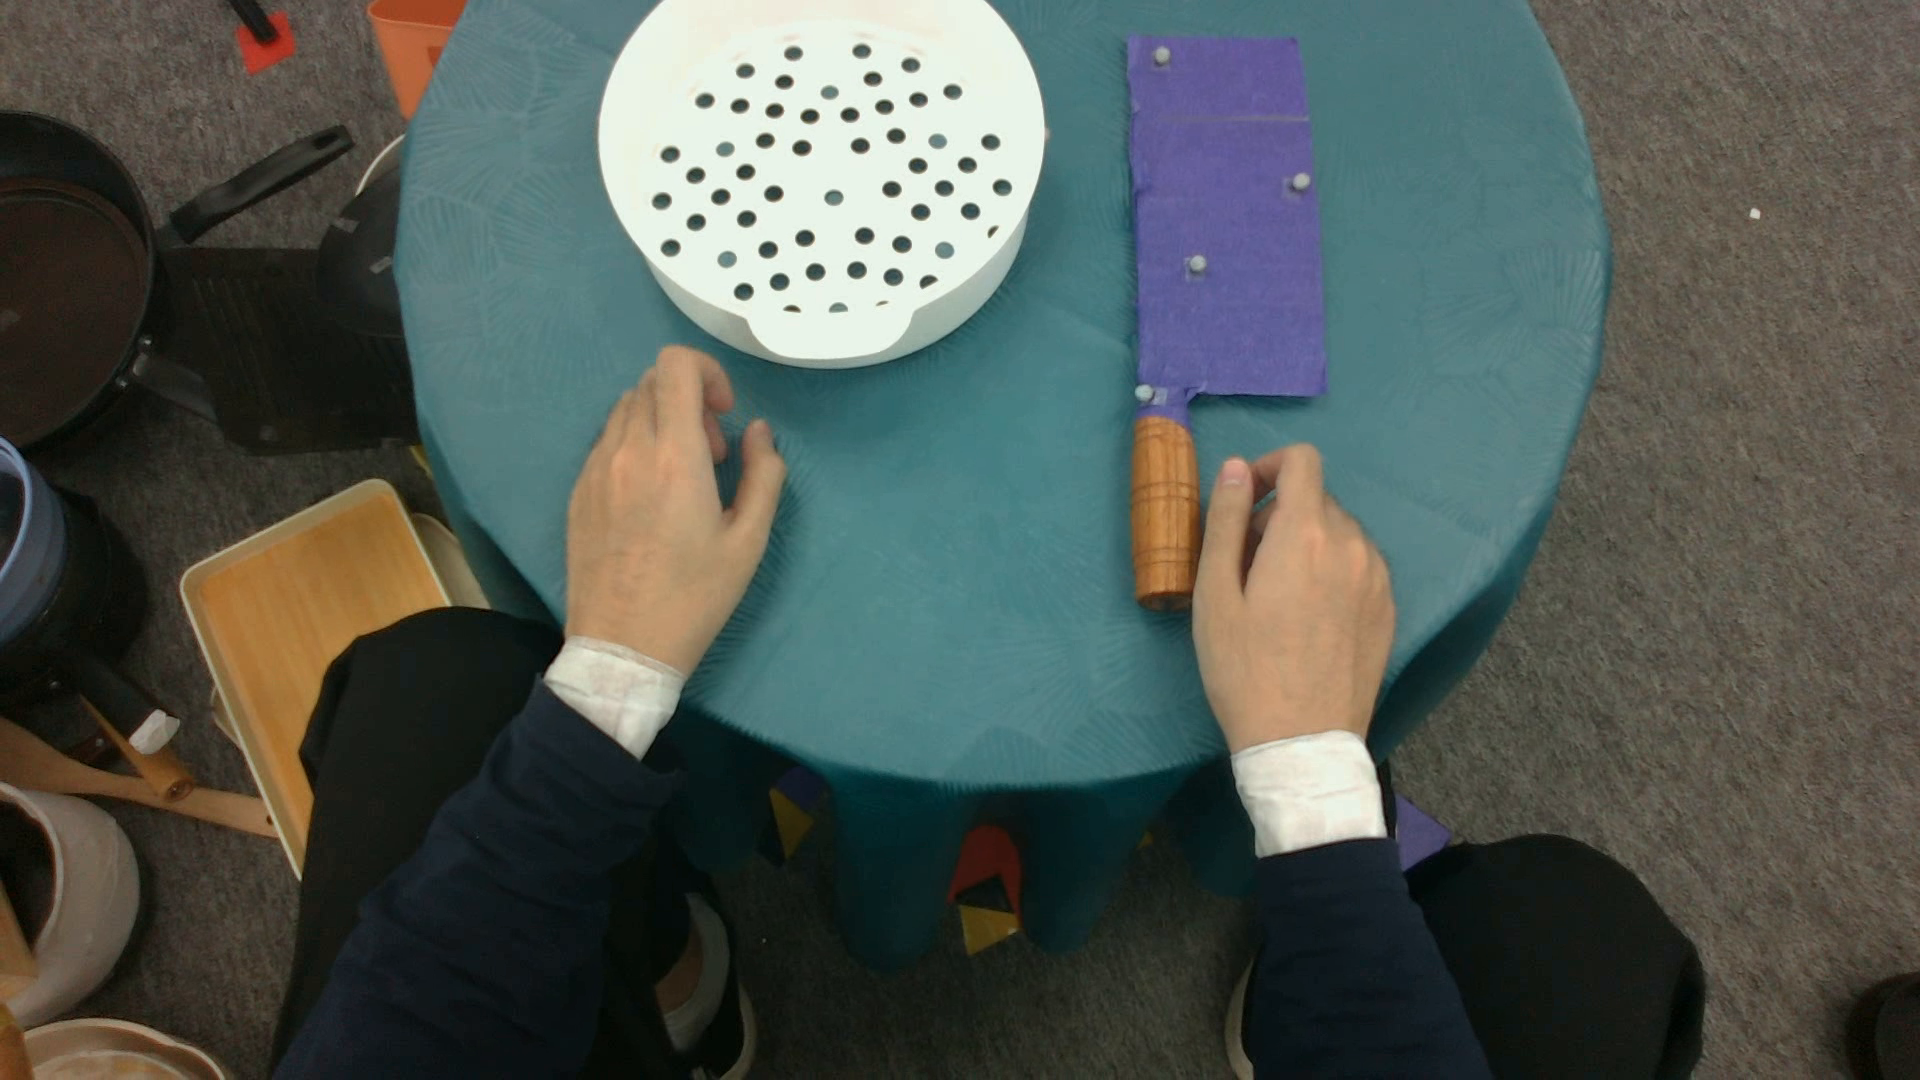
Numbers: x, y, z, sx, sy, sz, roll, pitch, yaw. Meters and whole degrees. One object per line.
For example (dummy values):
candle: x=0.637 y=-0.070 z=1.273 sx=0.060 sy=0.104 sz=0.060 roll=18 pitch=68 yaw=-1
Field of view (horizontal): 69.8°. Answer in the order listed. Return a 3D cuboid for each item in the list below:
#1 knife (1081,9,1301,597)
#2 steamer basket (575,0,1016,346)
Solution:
knife: x=0.116 y=-0.127 z=0.663 sx=0.104 sy=0.032 sz=0.316 roll=0 pitch=72 yaw=-2
steamer basket: x=-0.075 y=-0.191 z=0.656 sx=0.202 sy=0.069 sz=0.231 roll=-3 pitch=75 yaw=-2
